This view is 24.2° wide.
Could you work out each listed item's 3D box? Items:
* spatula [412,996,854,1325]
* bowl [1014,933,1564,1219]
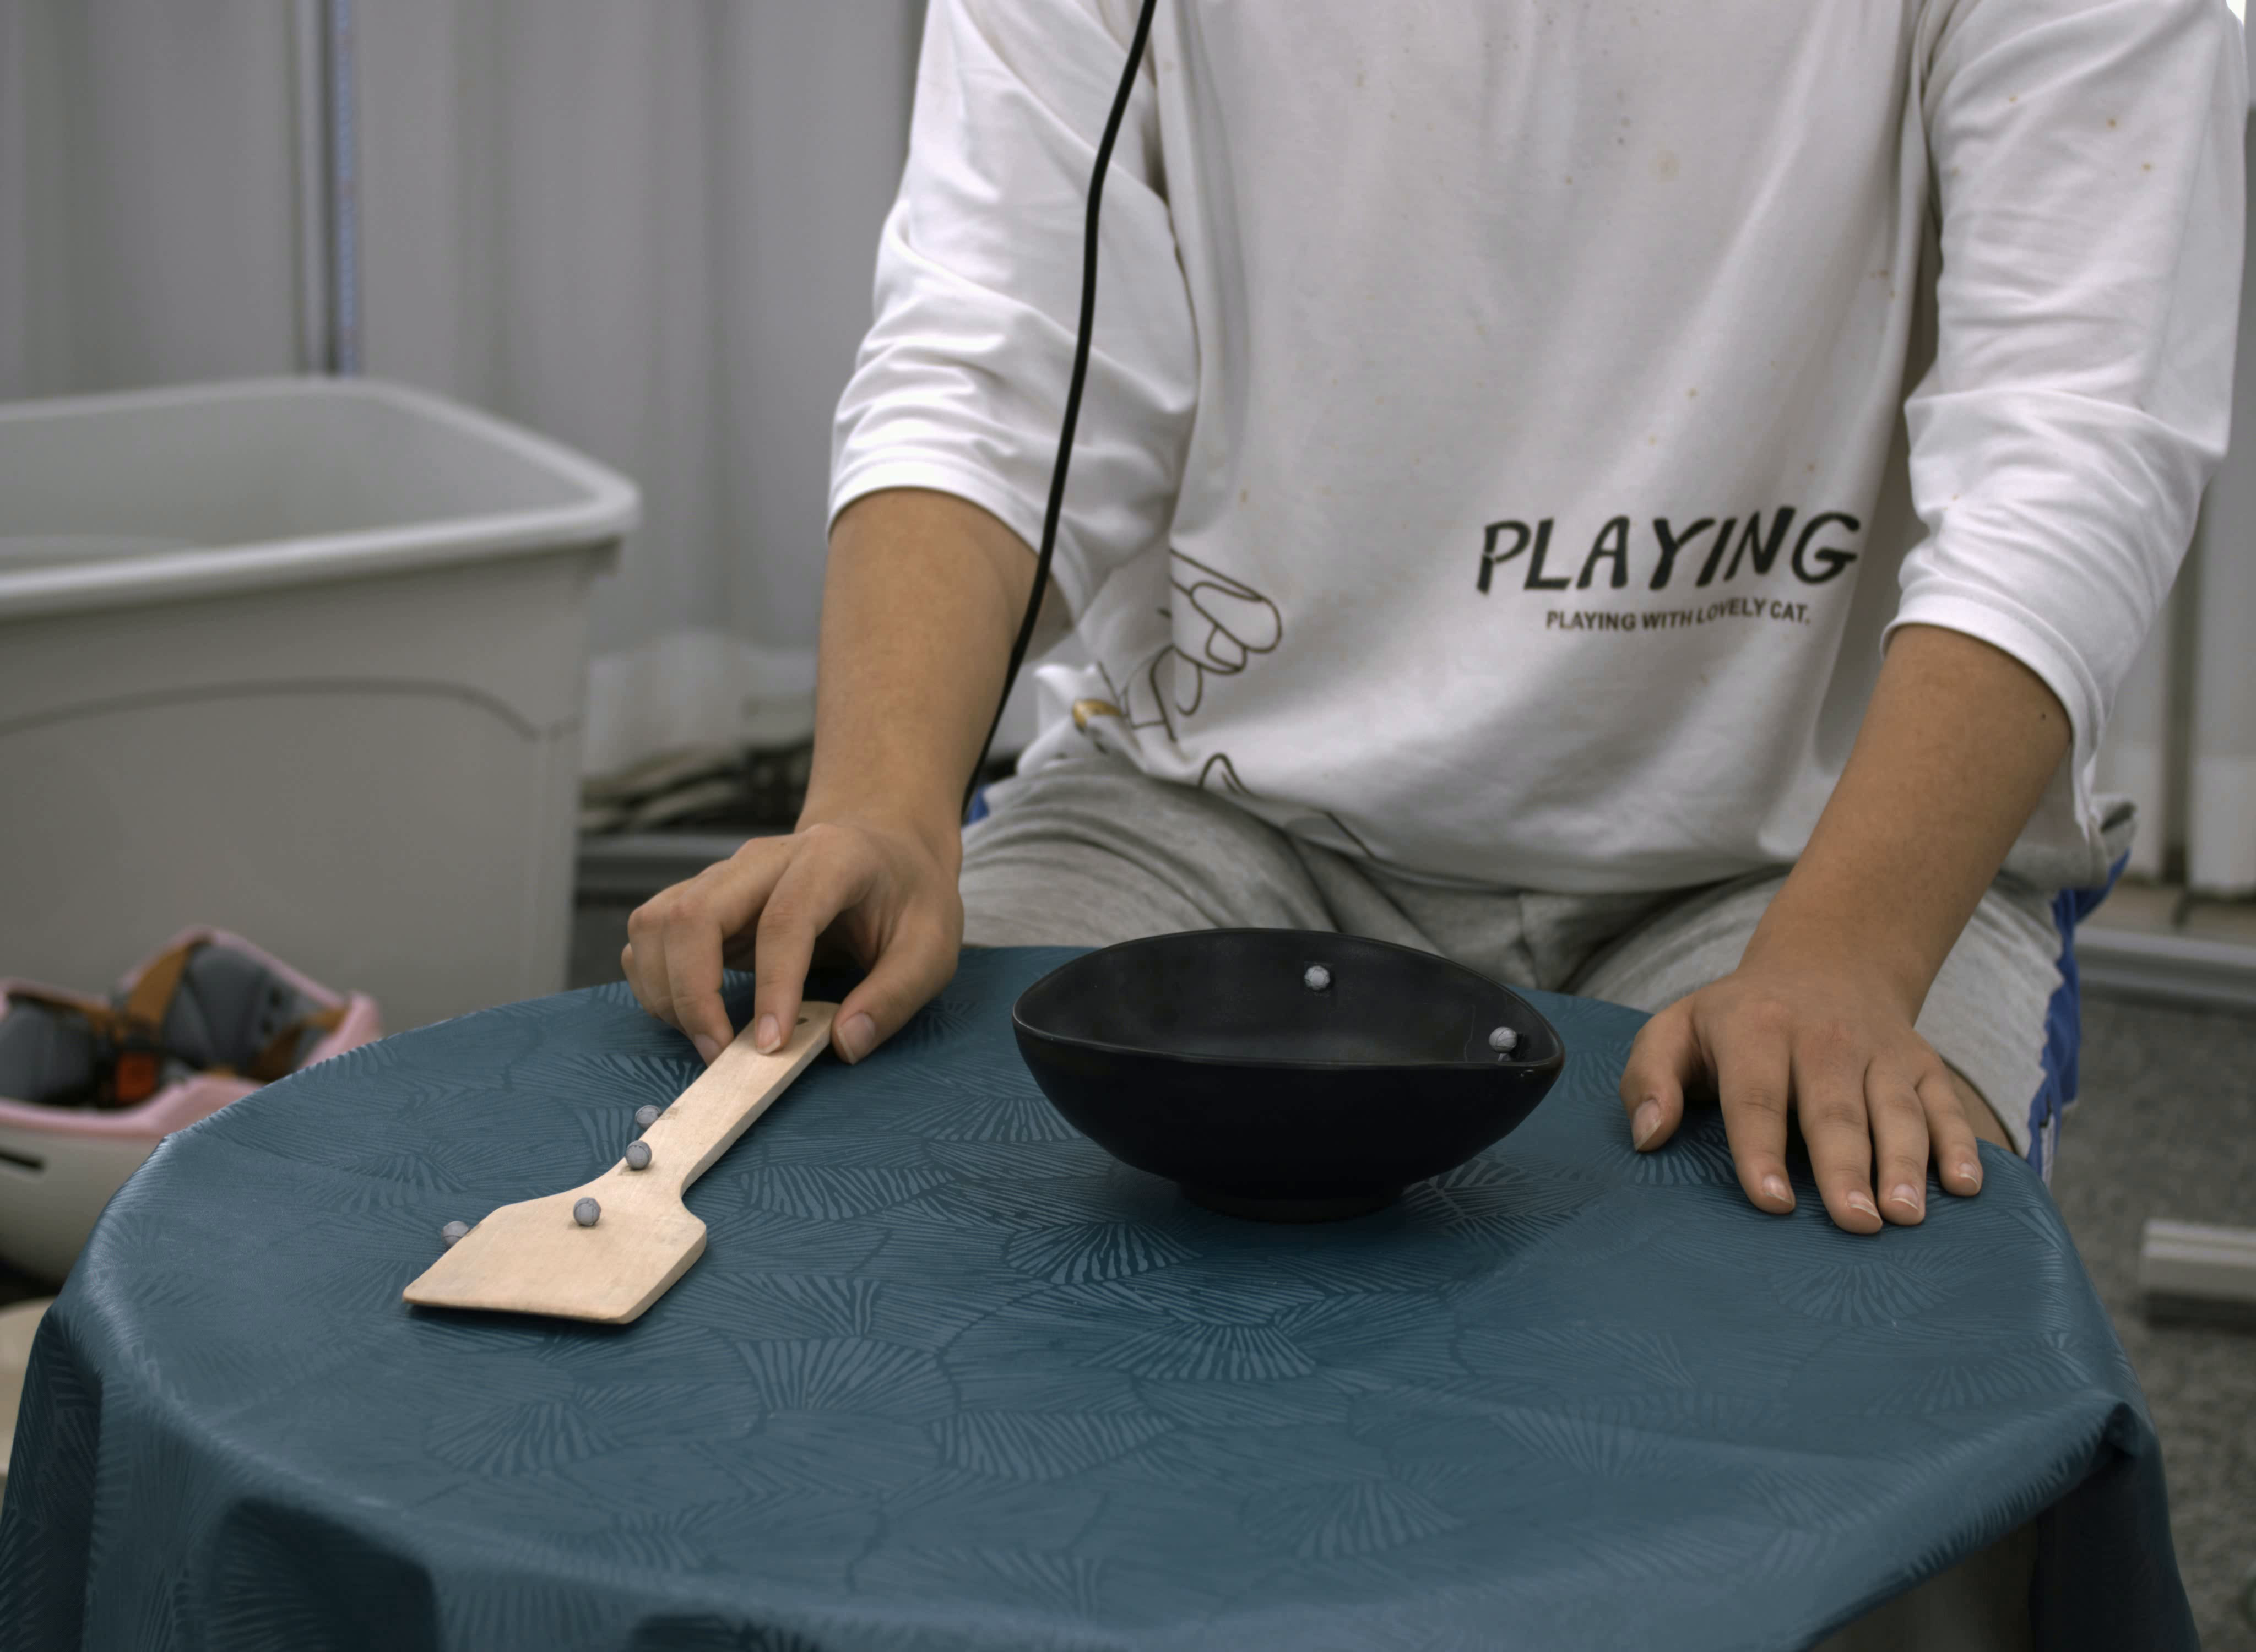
[{"bbox_3d":[-0.140,0.101,1.642,0.072,0.011,0.292,4,17,14],"label":"spatula"},{"bbox_3d":[0.049,0.081,1.627,0.170,0.067,0.136,3,15,0],"label":"bowl"}]
